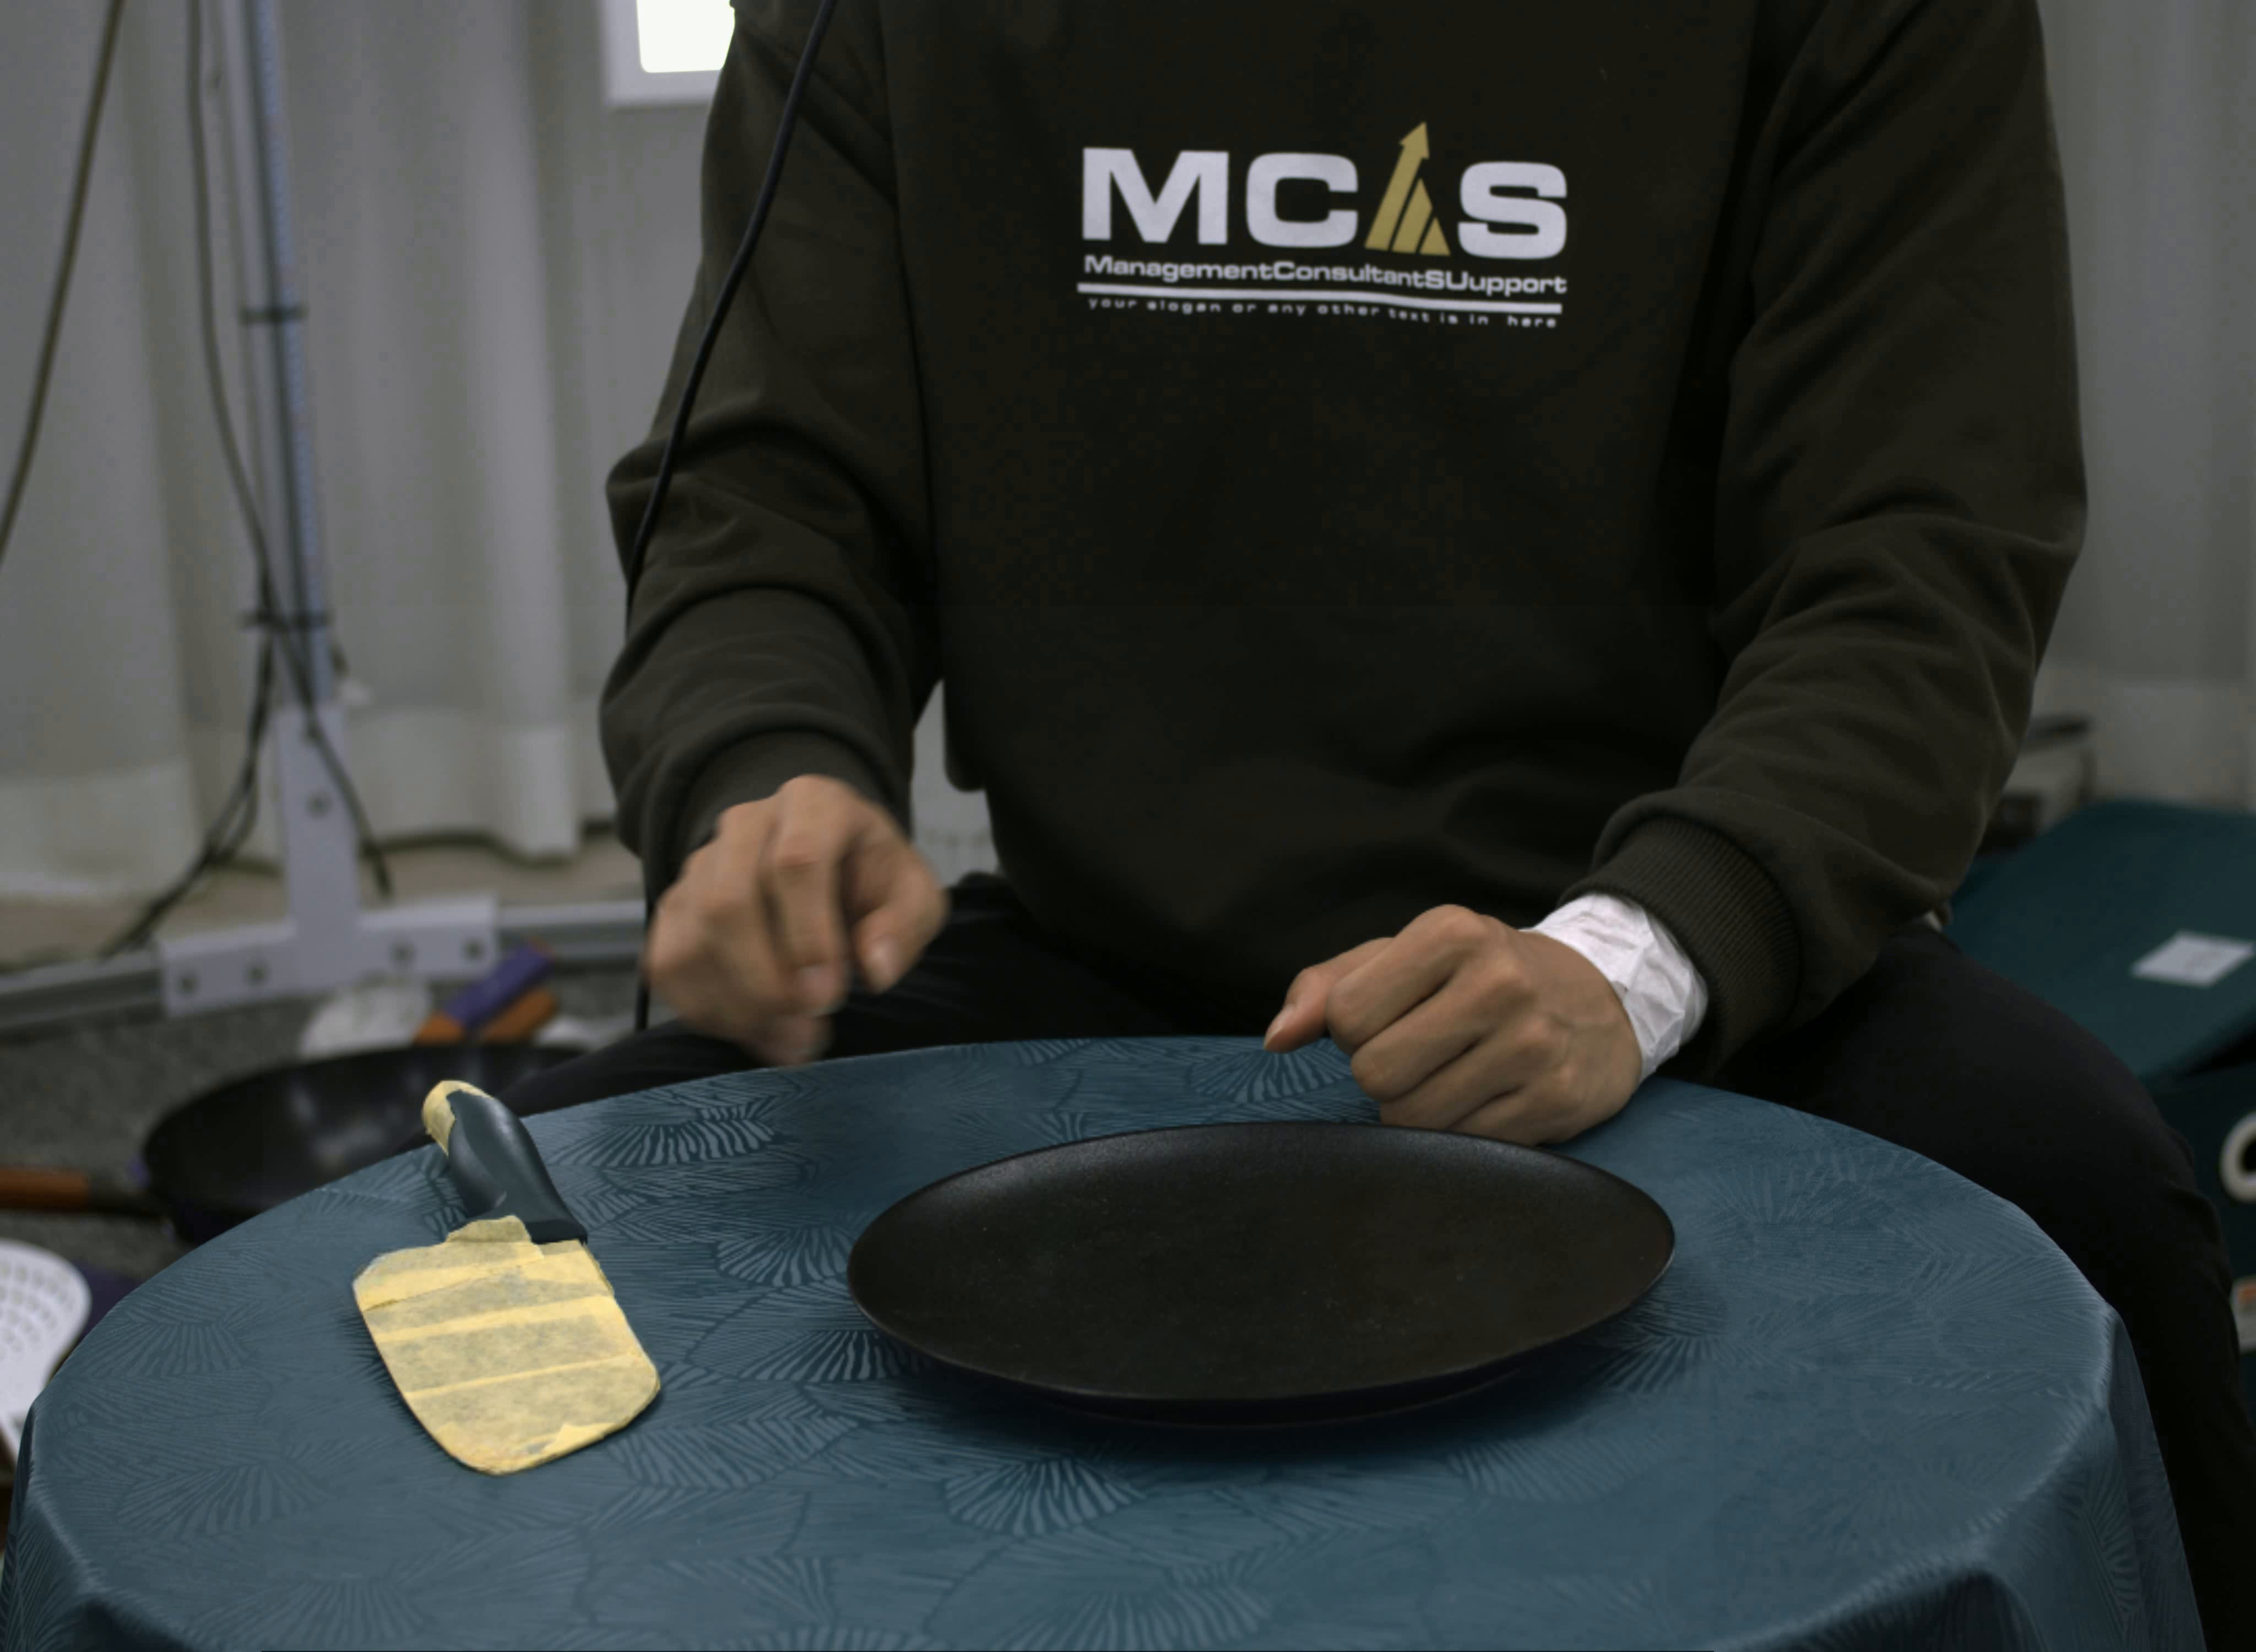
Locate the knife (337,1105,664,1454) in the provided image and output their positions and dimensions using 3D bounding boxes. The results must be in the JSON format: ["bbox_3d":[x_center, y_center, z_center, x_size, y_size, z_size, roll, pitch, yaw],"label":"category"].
[{"bbox_3d":[-0.195,0.136,1.645,0.080,0.027,0.292,-5,16,-13],"label":"knife"}]

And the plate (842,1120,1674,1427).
[{"bbox_3d":[0.038,0.133,1.596,0.243,0.023,0.246,-3,15,0],"label":"plate"}]
